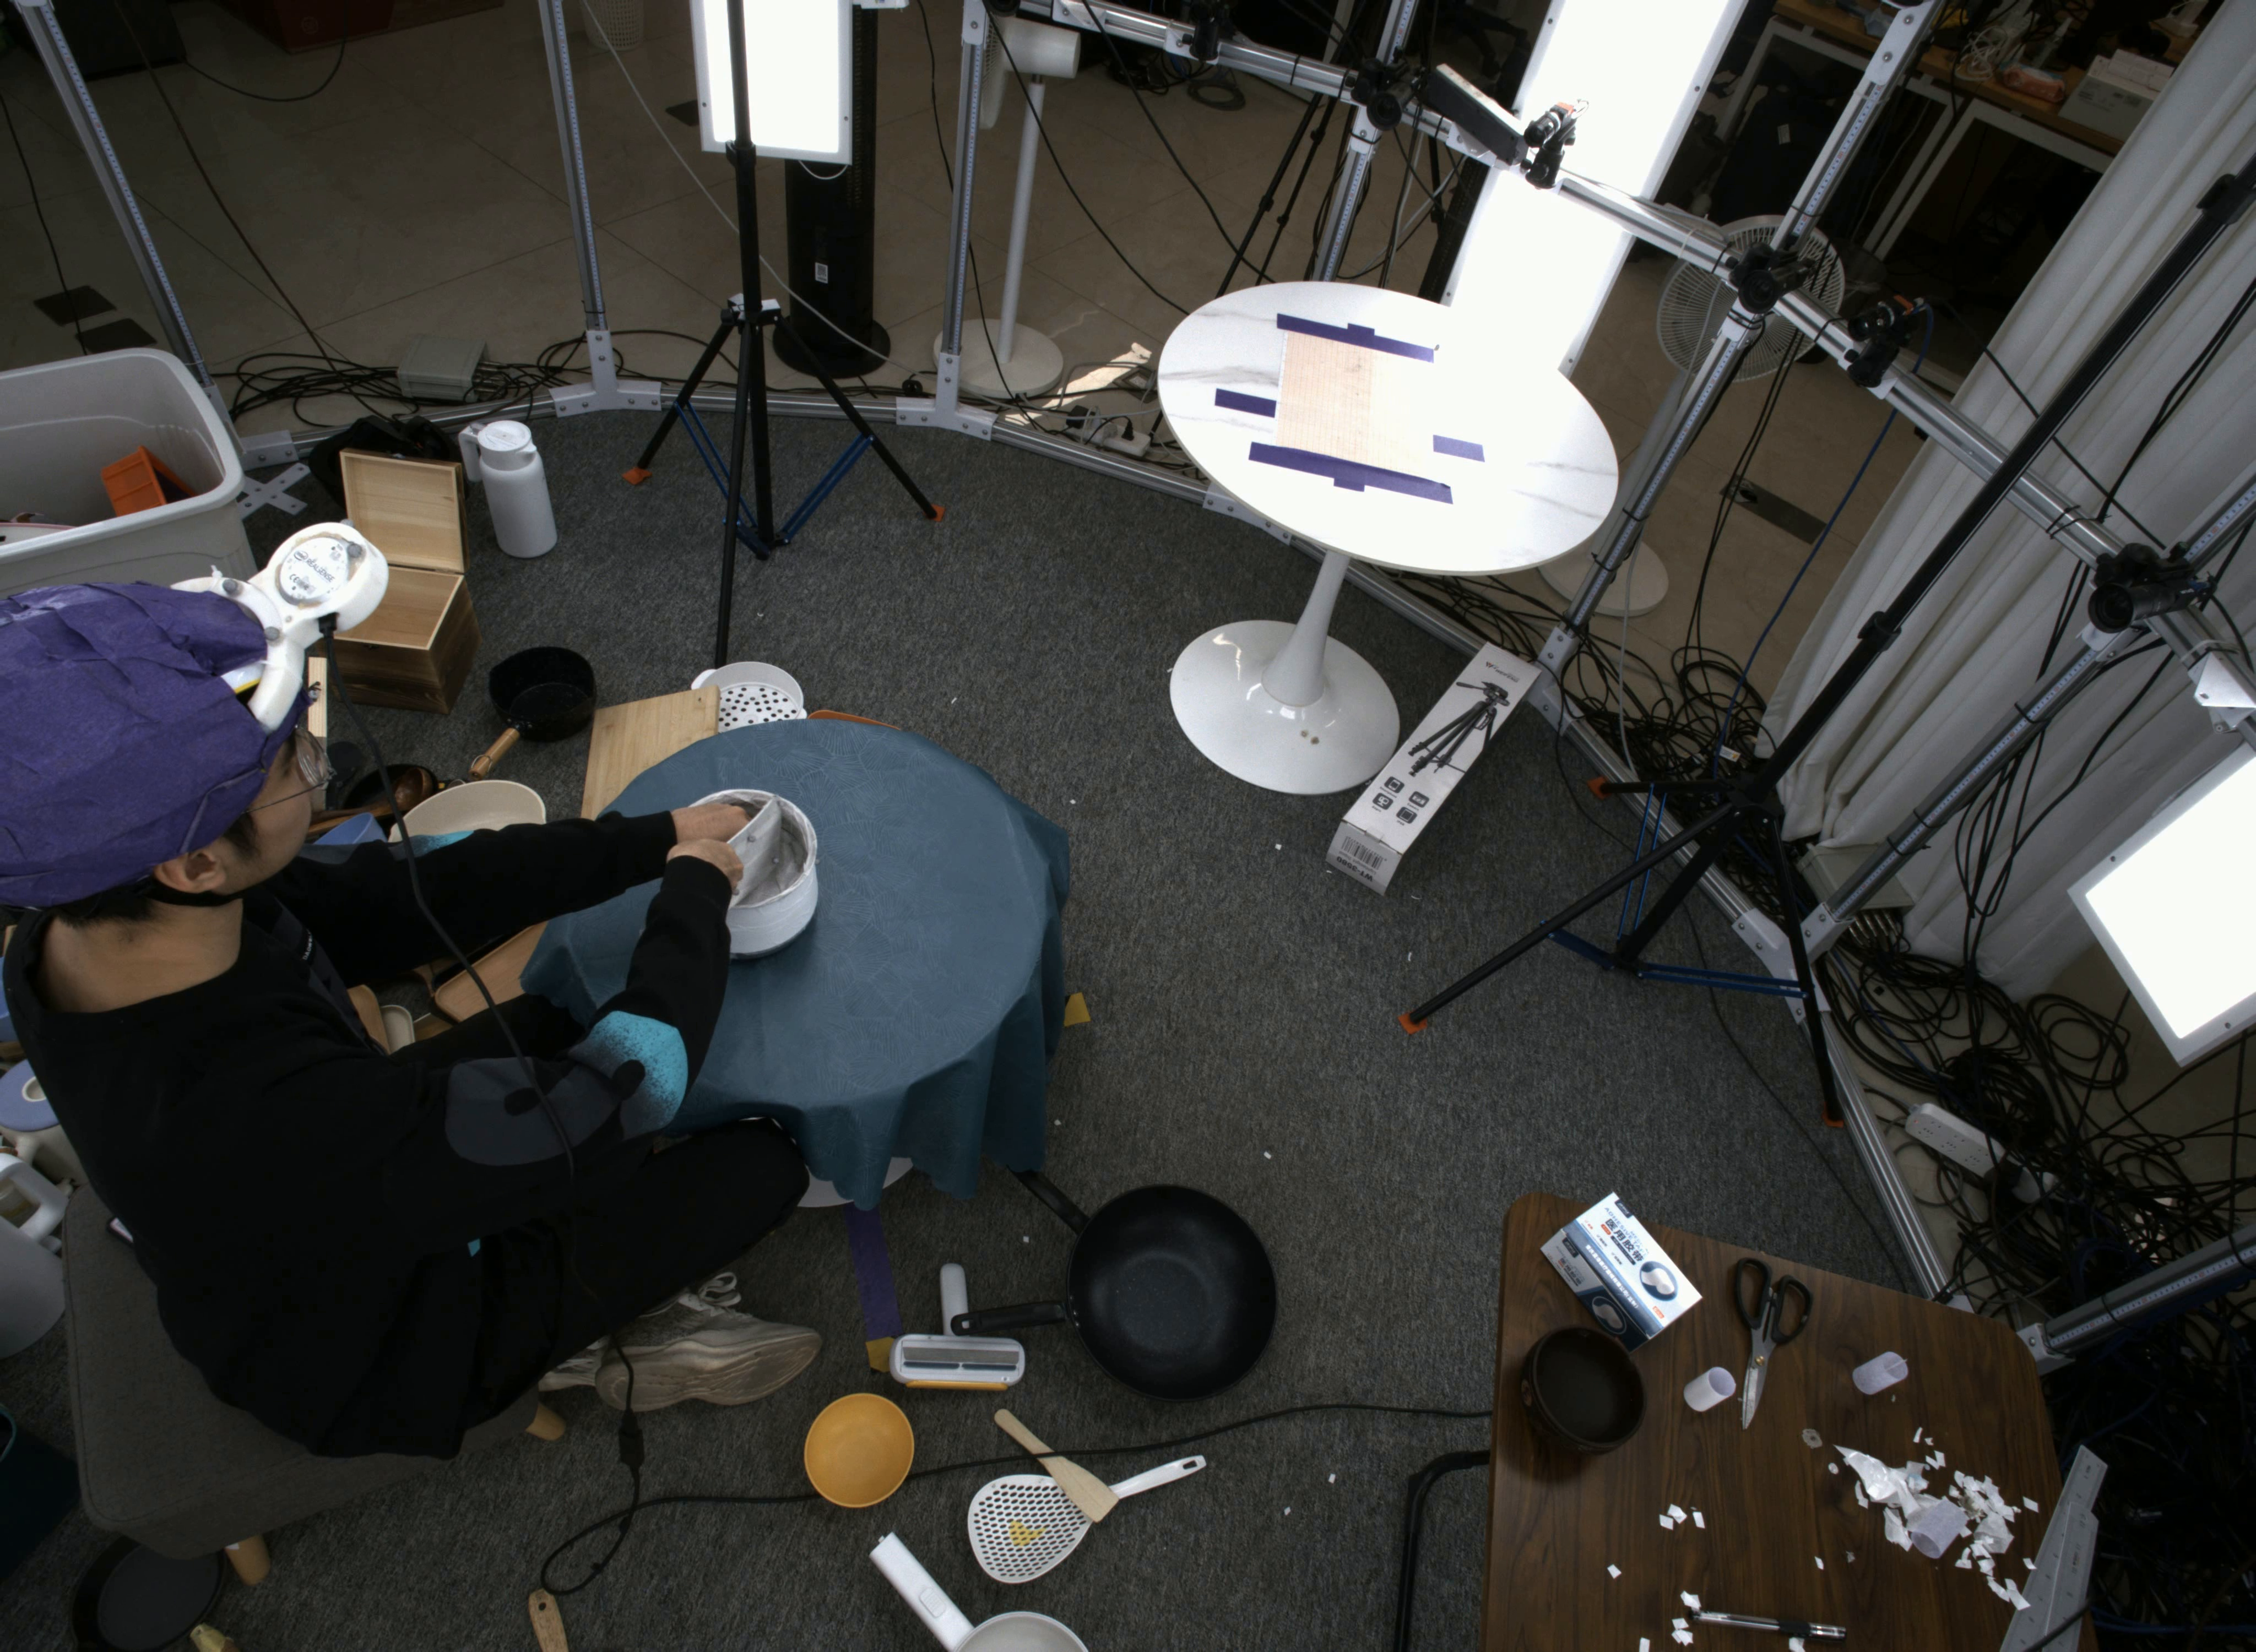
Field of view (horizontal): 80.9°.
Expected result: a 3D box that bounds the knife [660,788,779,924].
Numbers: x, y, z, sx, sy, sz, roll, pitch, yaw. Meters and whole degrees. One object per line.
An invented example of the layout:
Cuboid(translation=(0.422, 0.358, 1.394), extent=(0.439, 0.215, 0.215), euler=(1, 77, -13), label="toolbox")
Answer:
Cuboid(translation=(-0.446, 0.038, 1.441), extent=(0.021, 0.116, 0.312), euler=(8, 15, 4), label="knife")

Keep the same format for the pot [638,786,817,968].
Cuboid(translation=(-0.486, 0.074, 1.551), extent=(0.175, 0.139, 0.234), euler=(39, 53, 18), label="pot")
